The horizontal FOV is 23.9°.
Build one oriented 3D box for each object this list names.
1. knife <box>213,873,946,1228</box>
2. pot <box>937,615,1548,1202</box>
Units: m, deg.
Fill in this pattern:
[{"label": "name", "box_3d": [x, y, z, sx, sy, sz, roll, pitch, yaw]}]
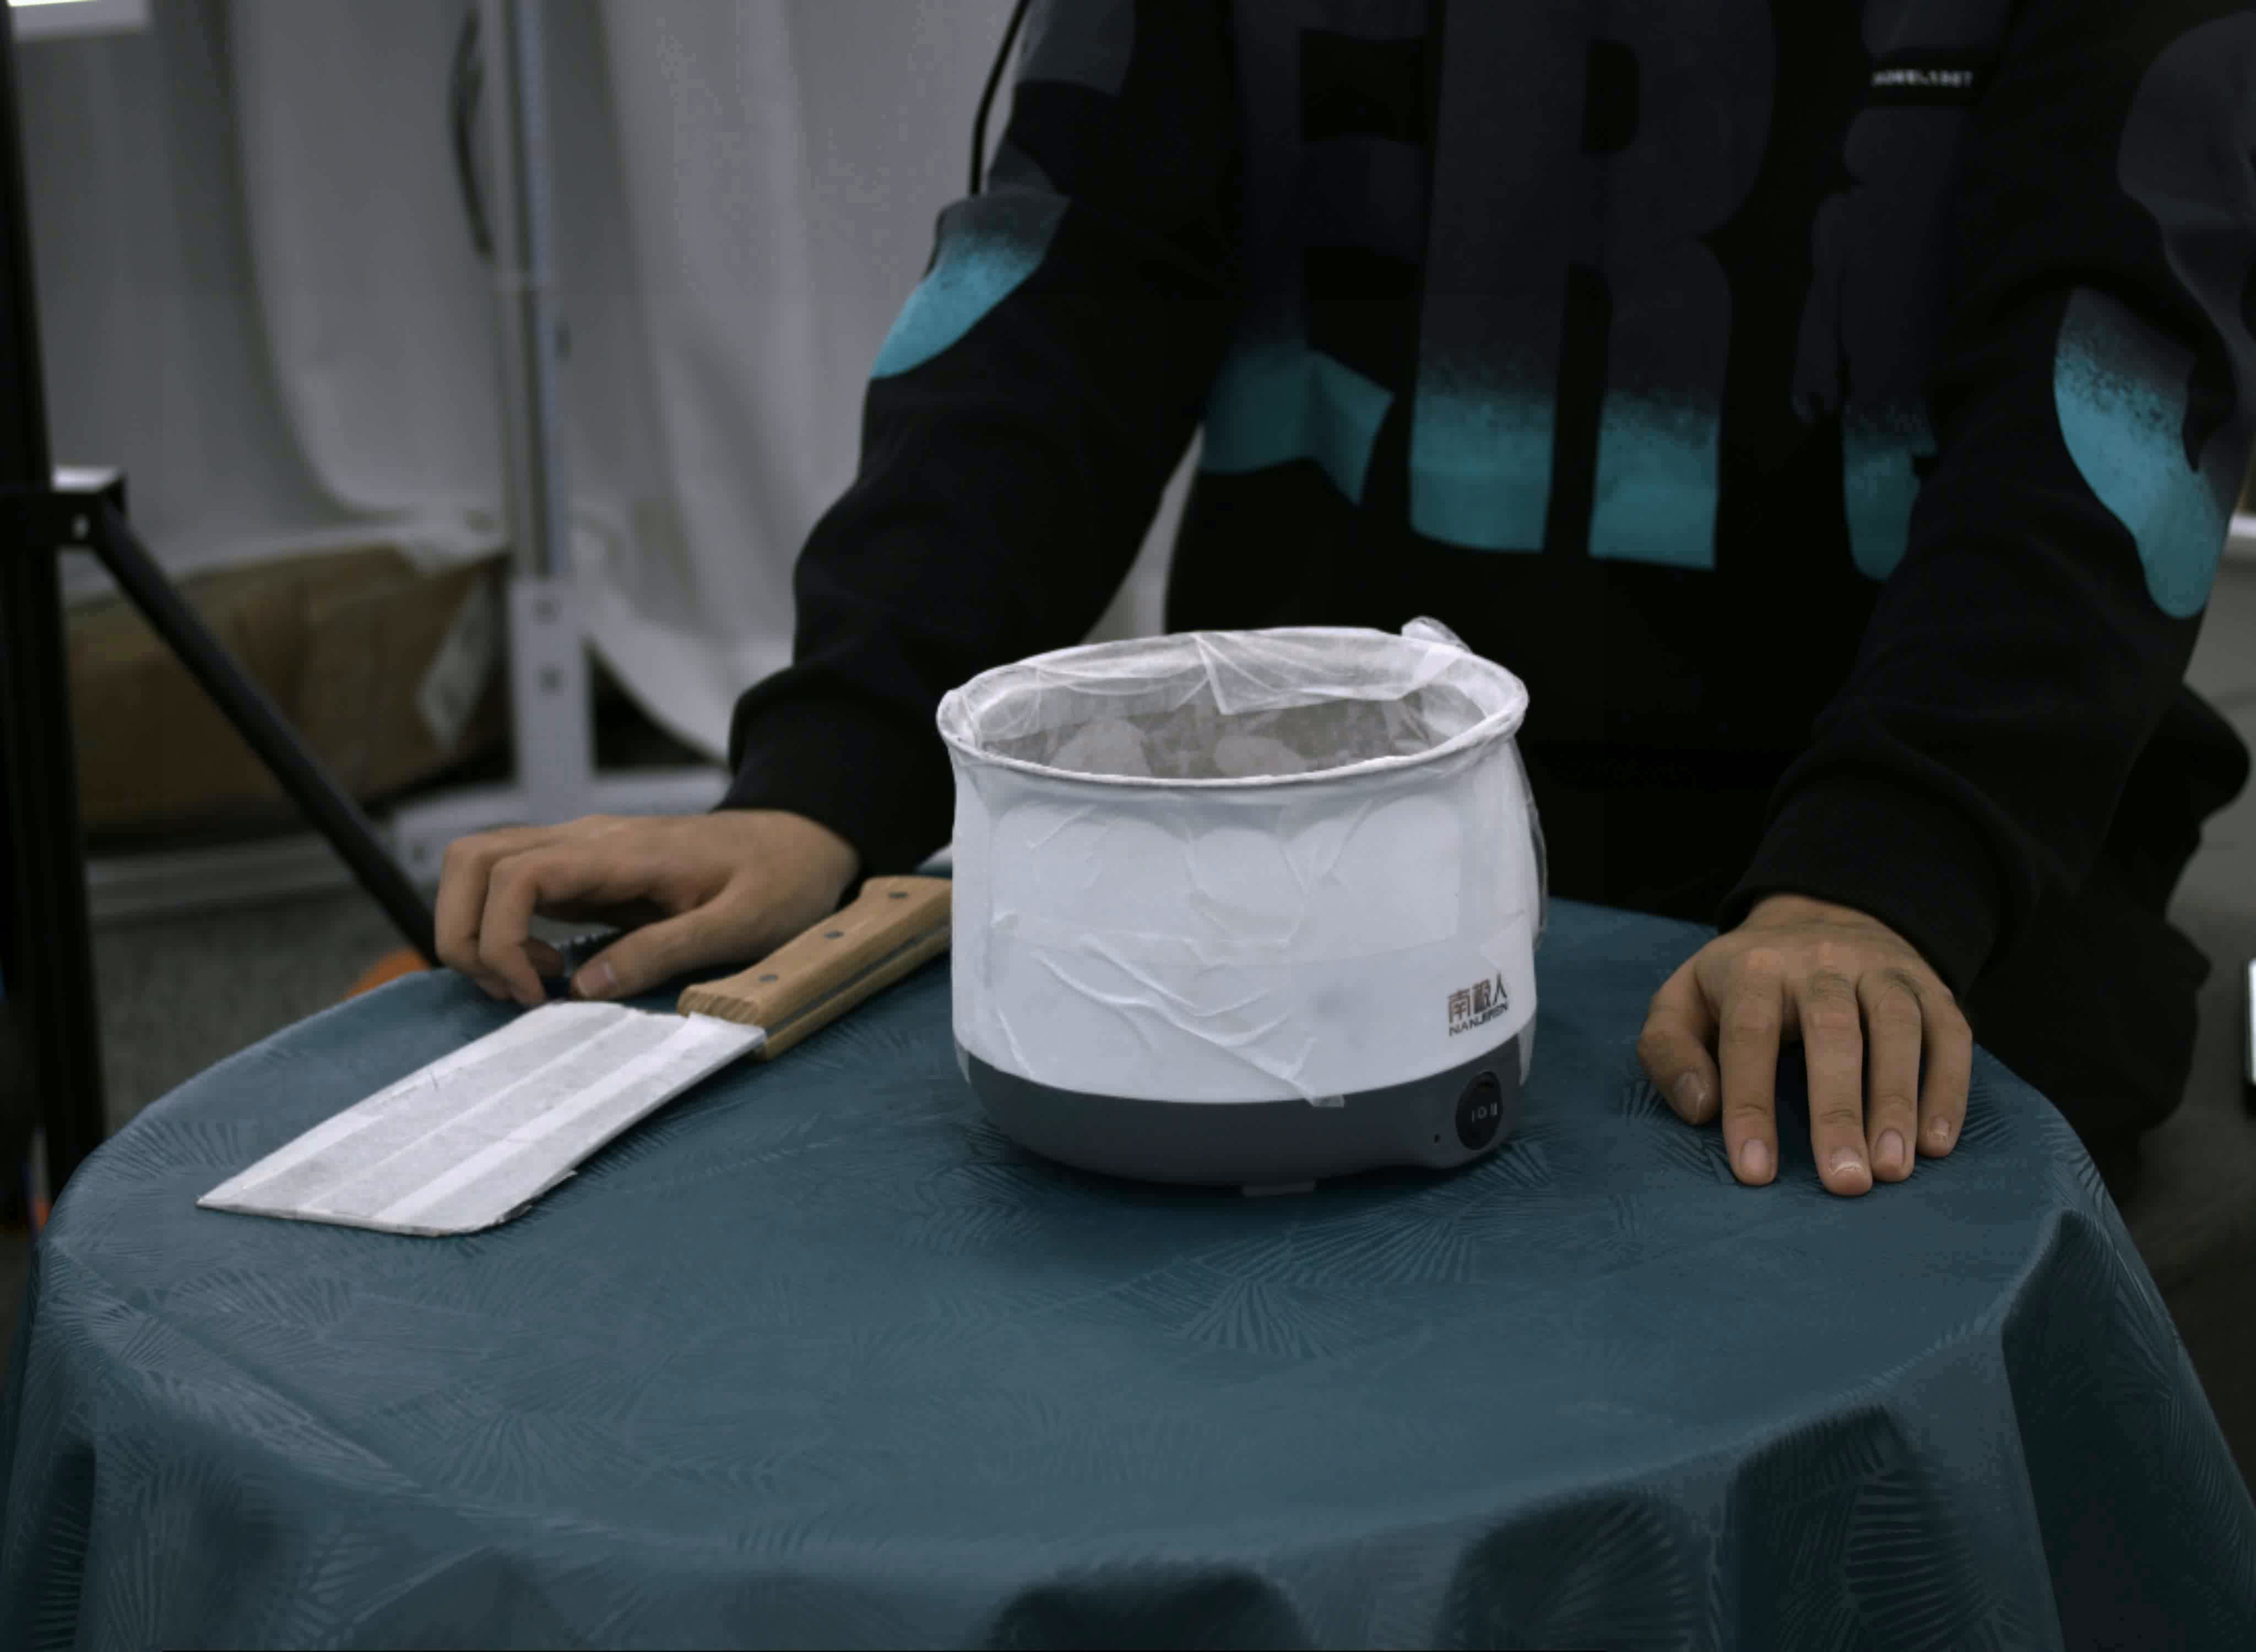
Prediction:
[{"label": "knife", "box_3d": [-0.155, 0.071, 1.683, 0.116, 0.022, 0.309, 7, 21, 33]}, {"label": "pot", "box_3d": [0.050, 0.018, 1.617, 0.182, 0.136, 0.229, 10, 20, 37]}]
